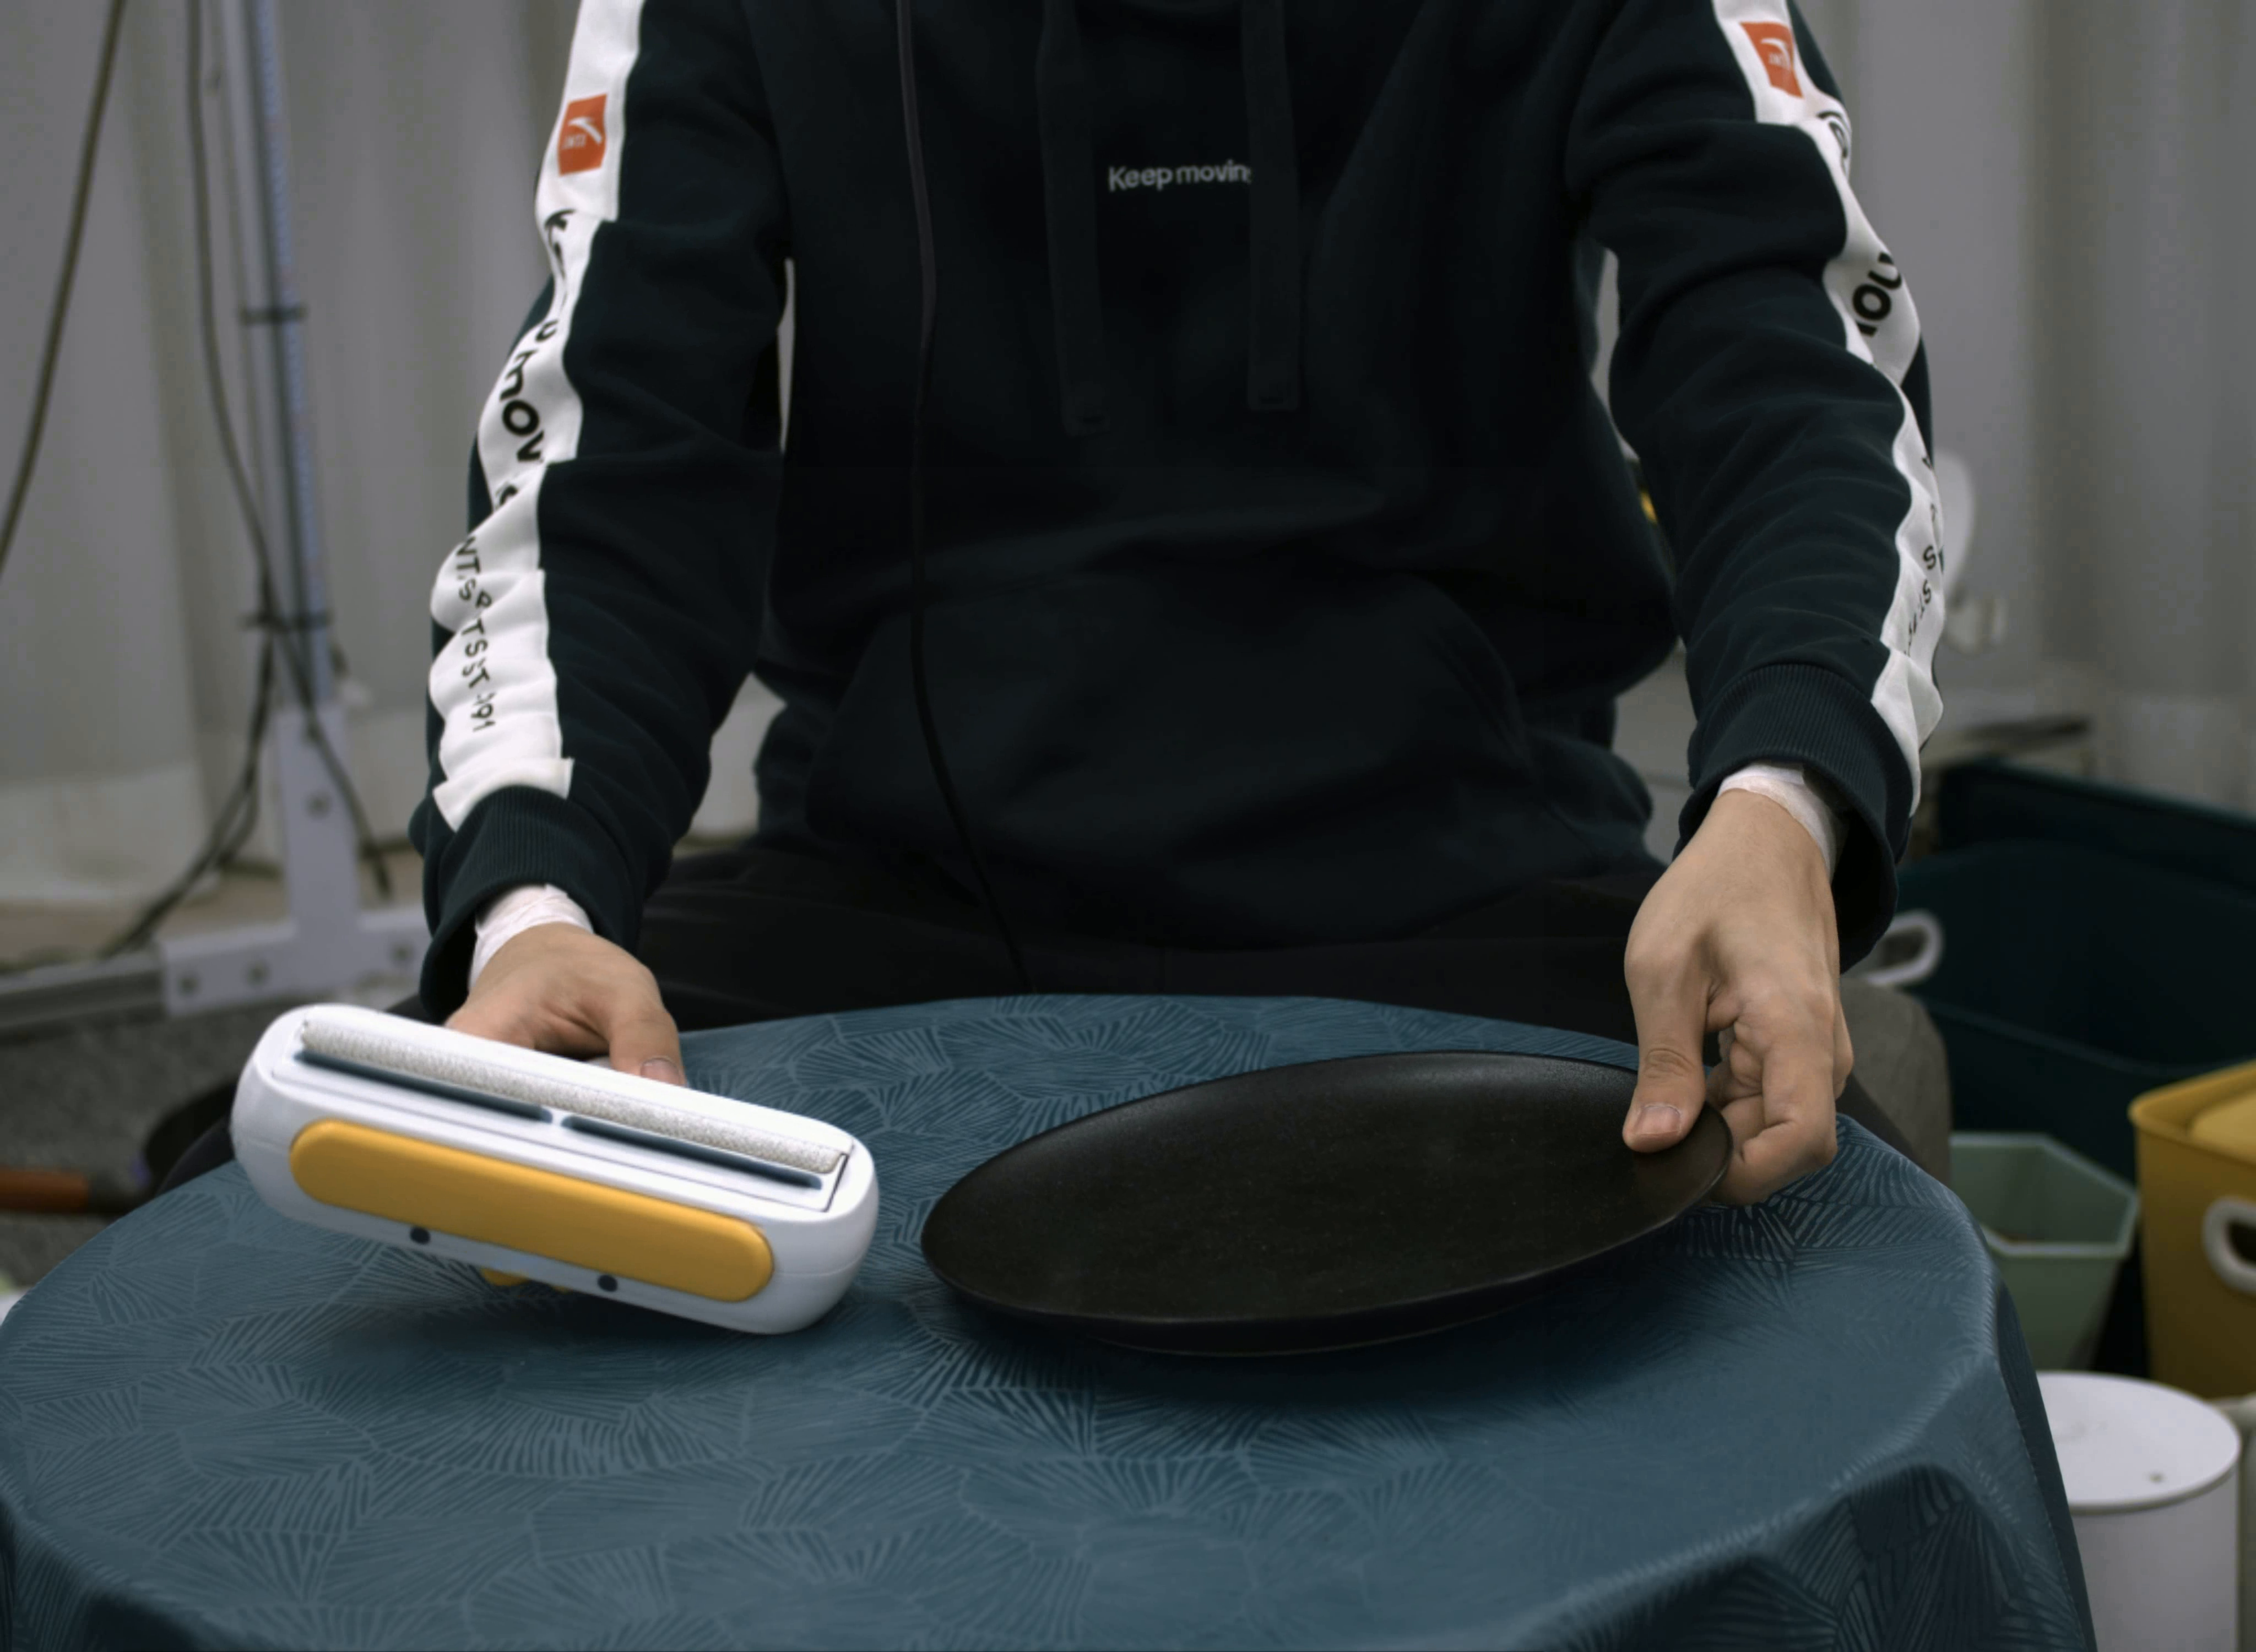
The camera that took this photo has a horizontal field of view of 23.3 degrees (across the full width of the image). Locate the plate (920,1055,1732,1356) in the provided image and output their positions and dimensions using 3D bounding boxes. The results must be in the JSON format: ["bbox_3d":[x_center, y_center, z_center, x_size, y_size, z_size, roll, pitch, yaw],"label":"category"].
[{"bbox_3d":[0.059,0.115,1.626,0.243,0.023,0.246,-8,14,2],"label":"plate"}]

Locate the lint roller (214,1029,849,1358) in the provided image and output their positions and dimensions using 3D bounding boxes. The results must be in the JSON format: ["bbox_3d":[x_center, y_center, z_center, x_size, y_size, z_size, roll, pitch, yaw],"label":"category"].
[{"bbox_3d":[-0.168,0.110,1.678,0.193,0.074,0.192,12,6,10],"label":"lint roller"}]
